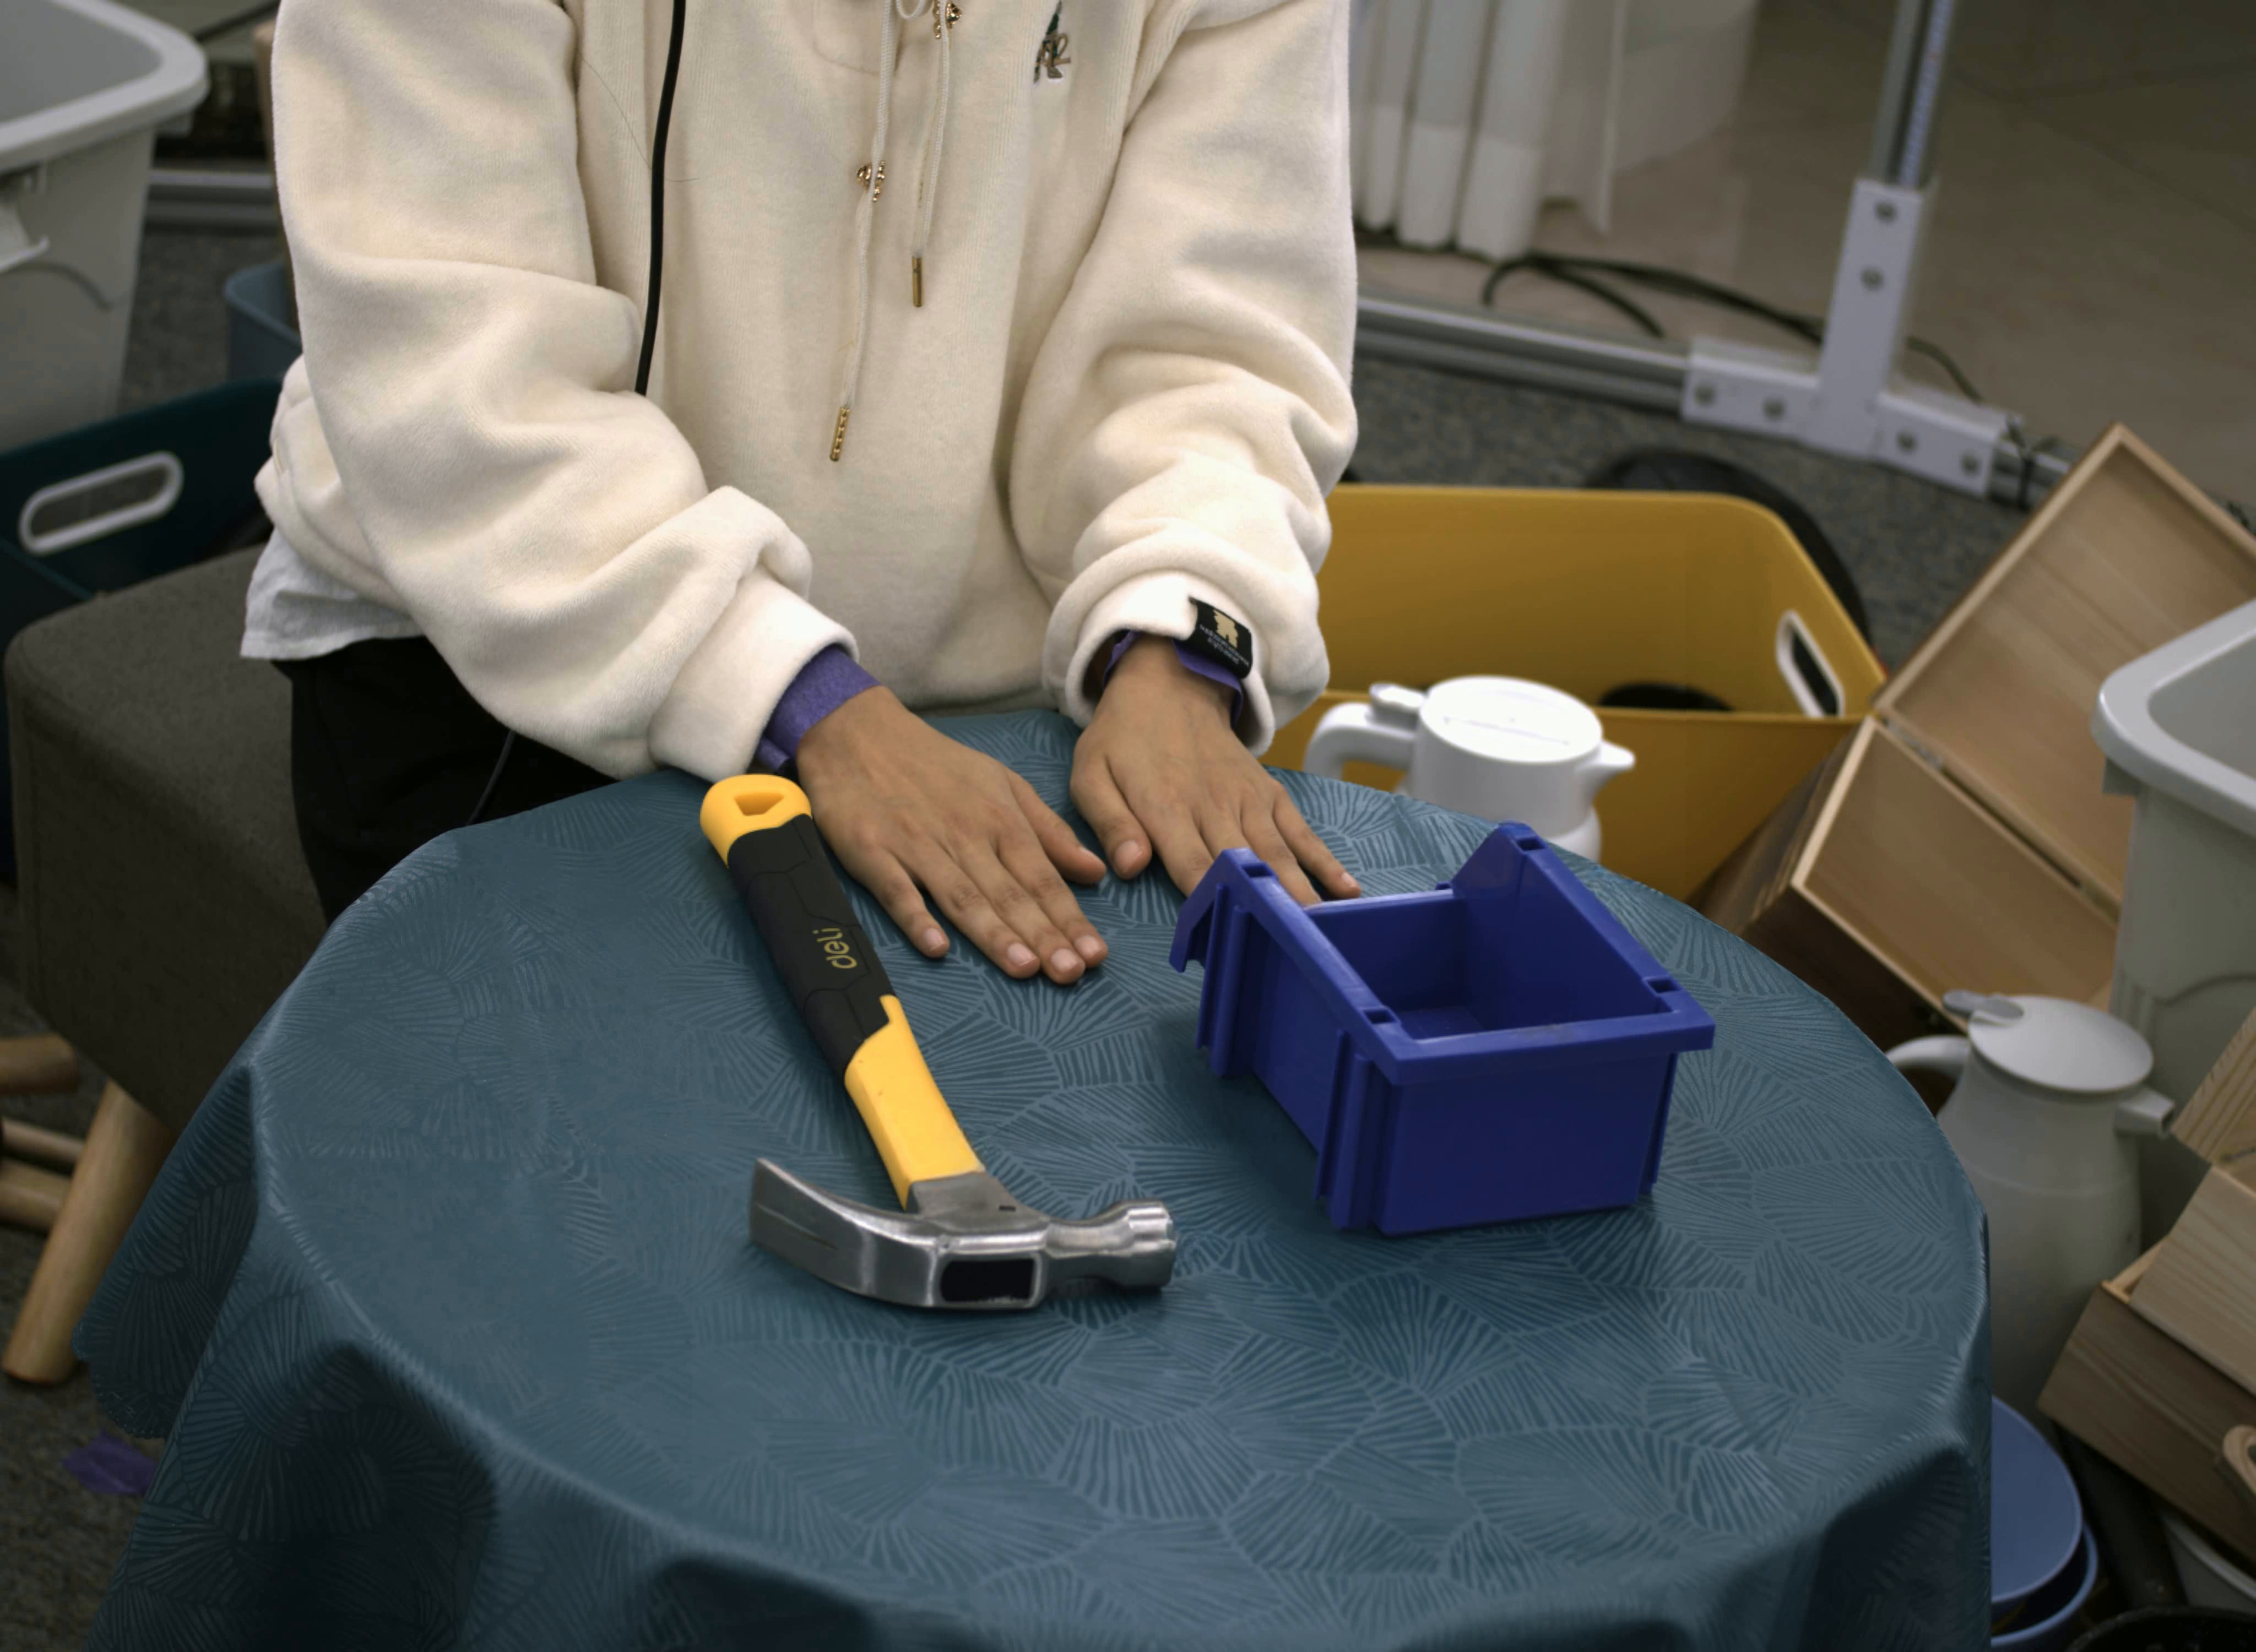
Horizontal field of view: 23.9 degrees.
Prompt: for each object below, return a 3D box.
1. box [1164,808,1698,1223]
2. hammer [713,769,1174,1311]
[{"bbox_3d":[0.100,0.061,1.859,0.124,0.081,0.181,-5,31,-21],"label":"box"},{"bbox_3d":[-0.092,0.067,1.856,0.130,0.032,0.341,-3,29,-16],"label":"hammer"}]
